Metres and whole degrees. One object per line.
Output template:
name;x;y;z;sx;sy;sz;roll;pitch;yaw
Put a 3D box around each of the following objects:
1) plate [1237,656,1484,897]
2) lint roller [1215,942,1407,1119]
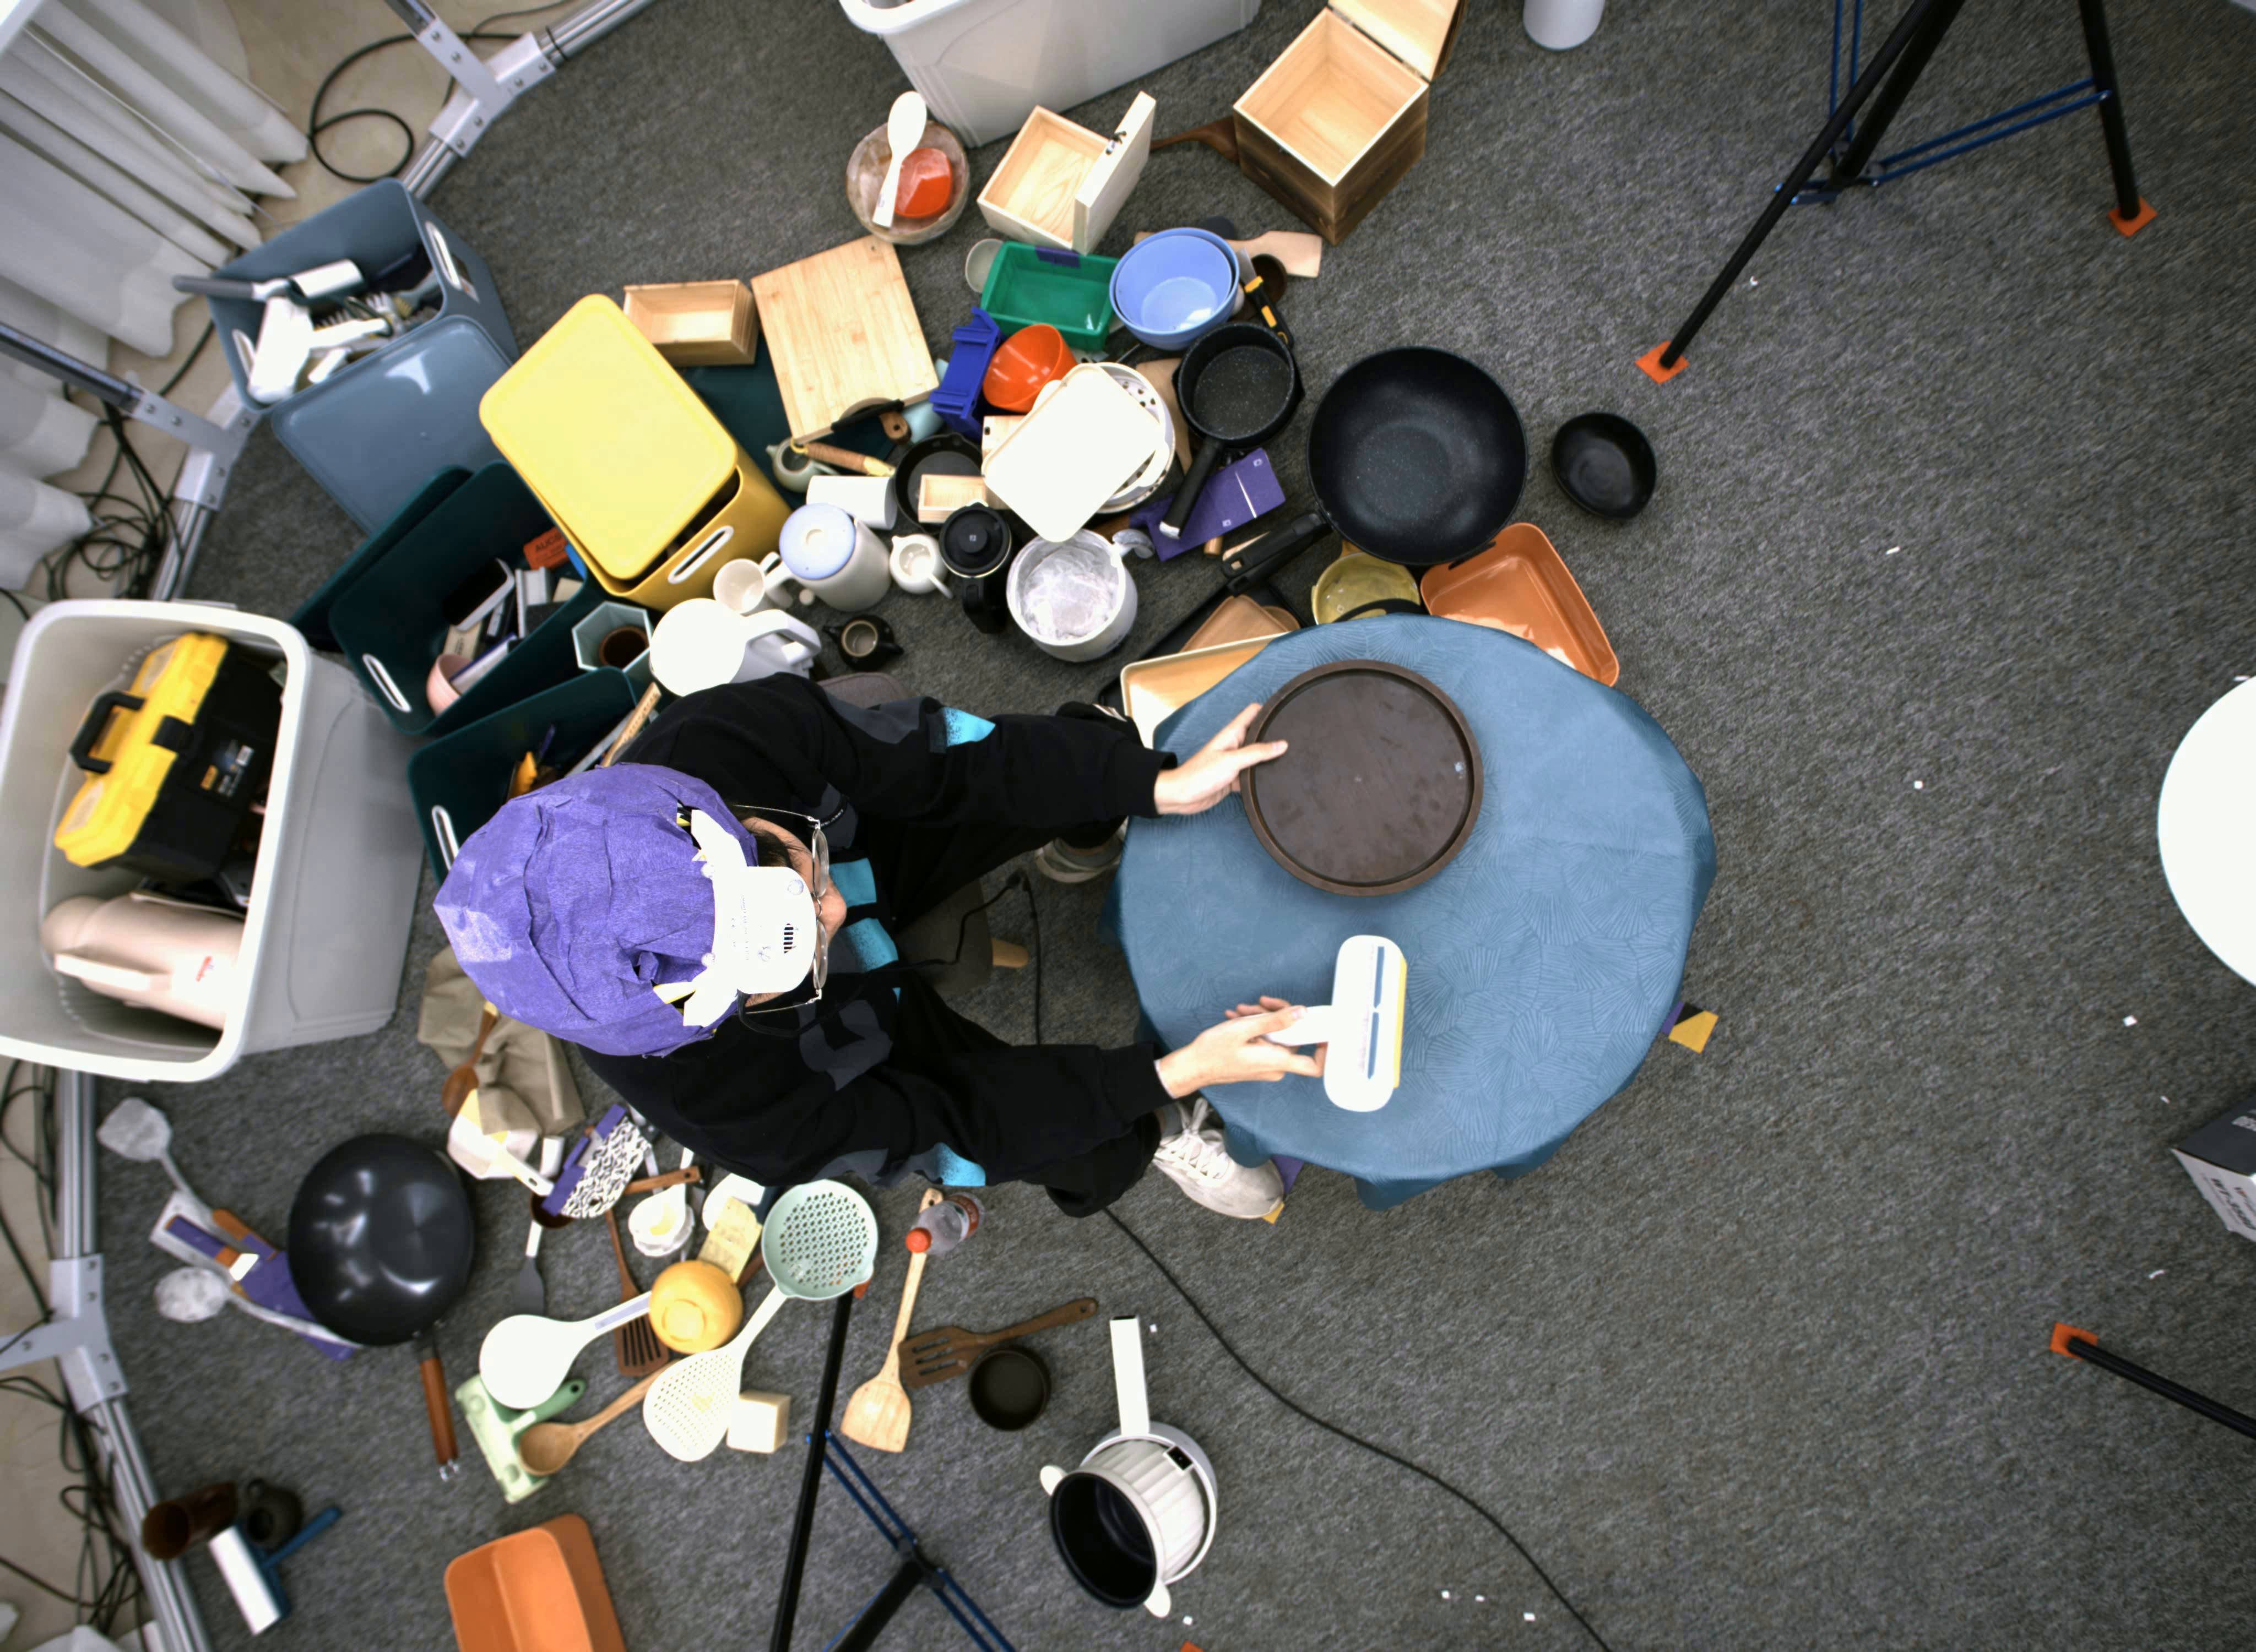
plate;0.239;-0.053;1.426;0.255;0.029;0.253;-1;83;5
lint roller;0.175;0.201;1.381;0.193;0.075;0.188;1;53;21
